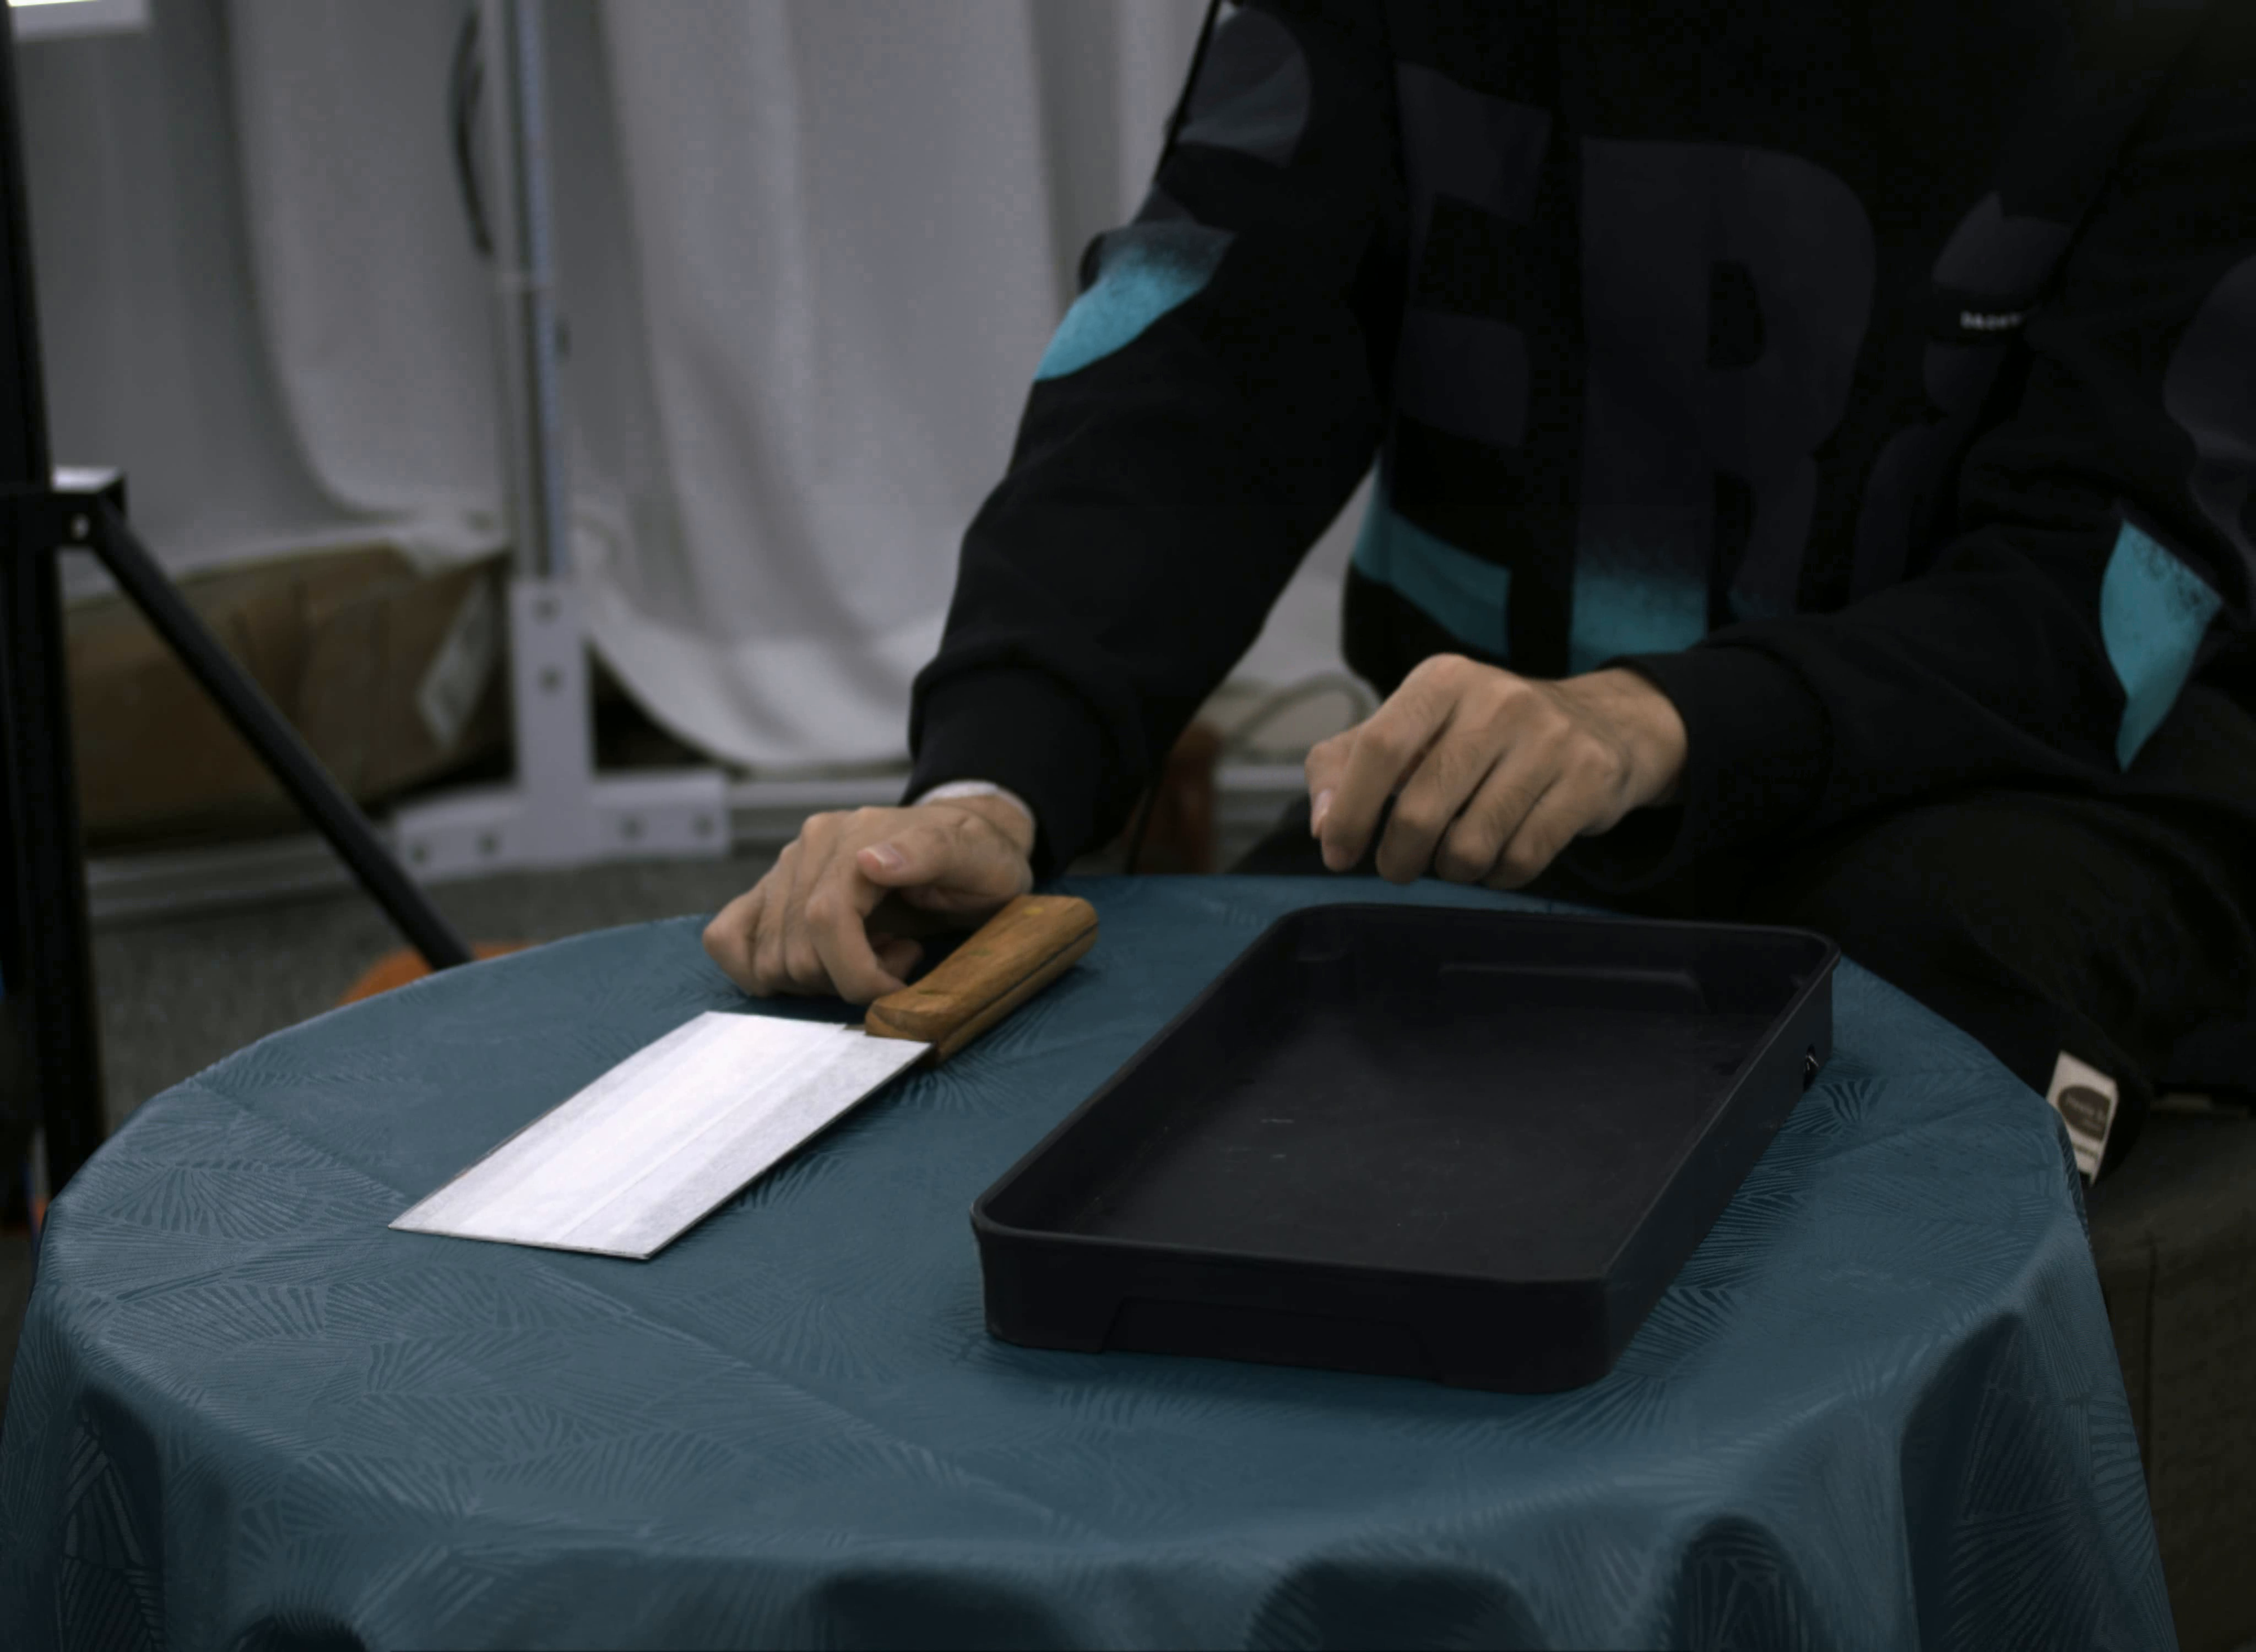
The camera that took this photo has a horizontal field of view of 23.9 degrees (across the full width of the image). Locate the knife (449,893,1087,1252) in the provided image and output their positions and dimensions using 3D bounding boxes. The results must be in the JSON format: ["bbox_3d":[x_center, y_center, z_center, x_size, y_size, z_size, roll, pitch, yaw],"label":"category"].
[{"bbox_3d":[-0.111,0.075,1.667,0.094,0.021,0.301,4,19,26],"label":"knife"}]

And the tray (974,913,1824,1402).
[{"bbox_3d":[0.087,0.089,1.542,0.186,0.037,0.314,2,16,18],"label":"tray"}]
